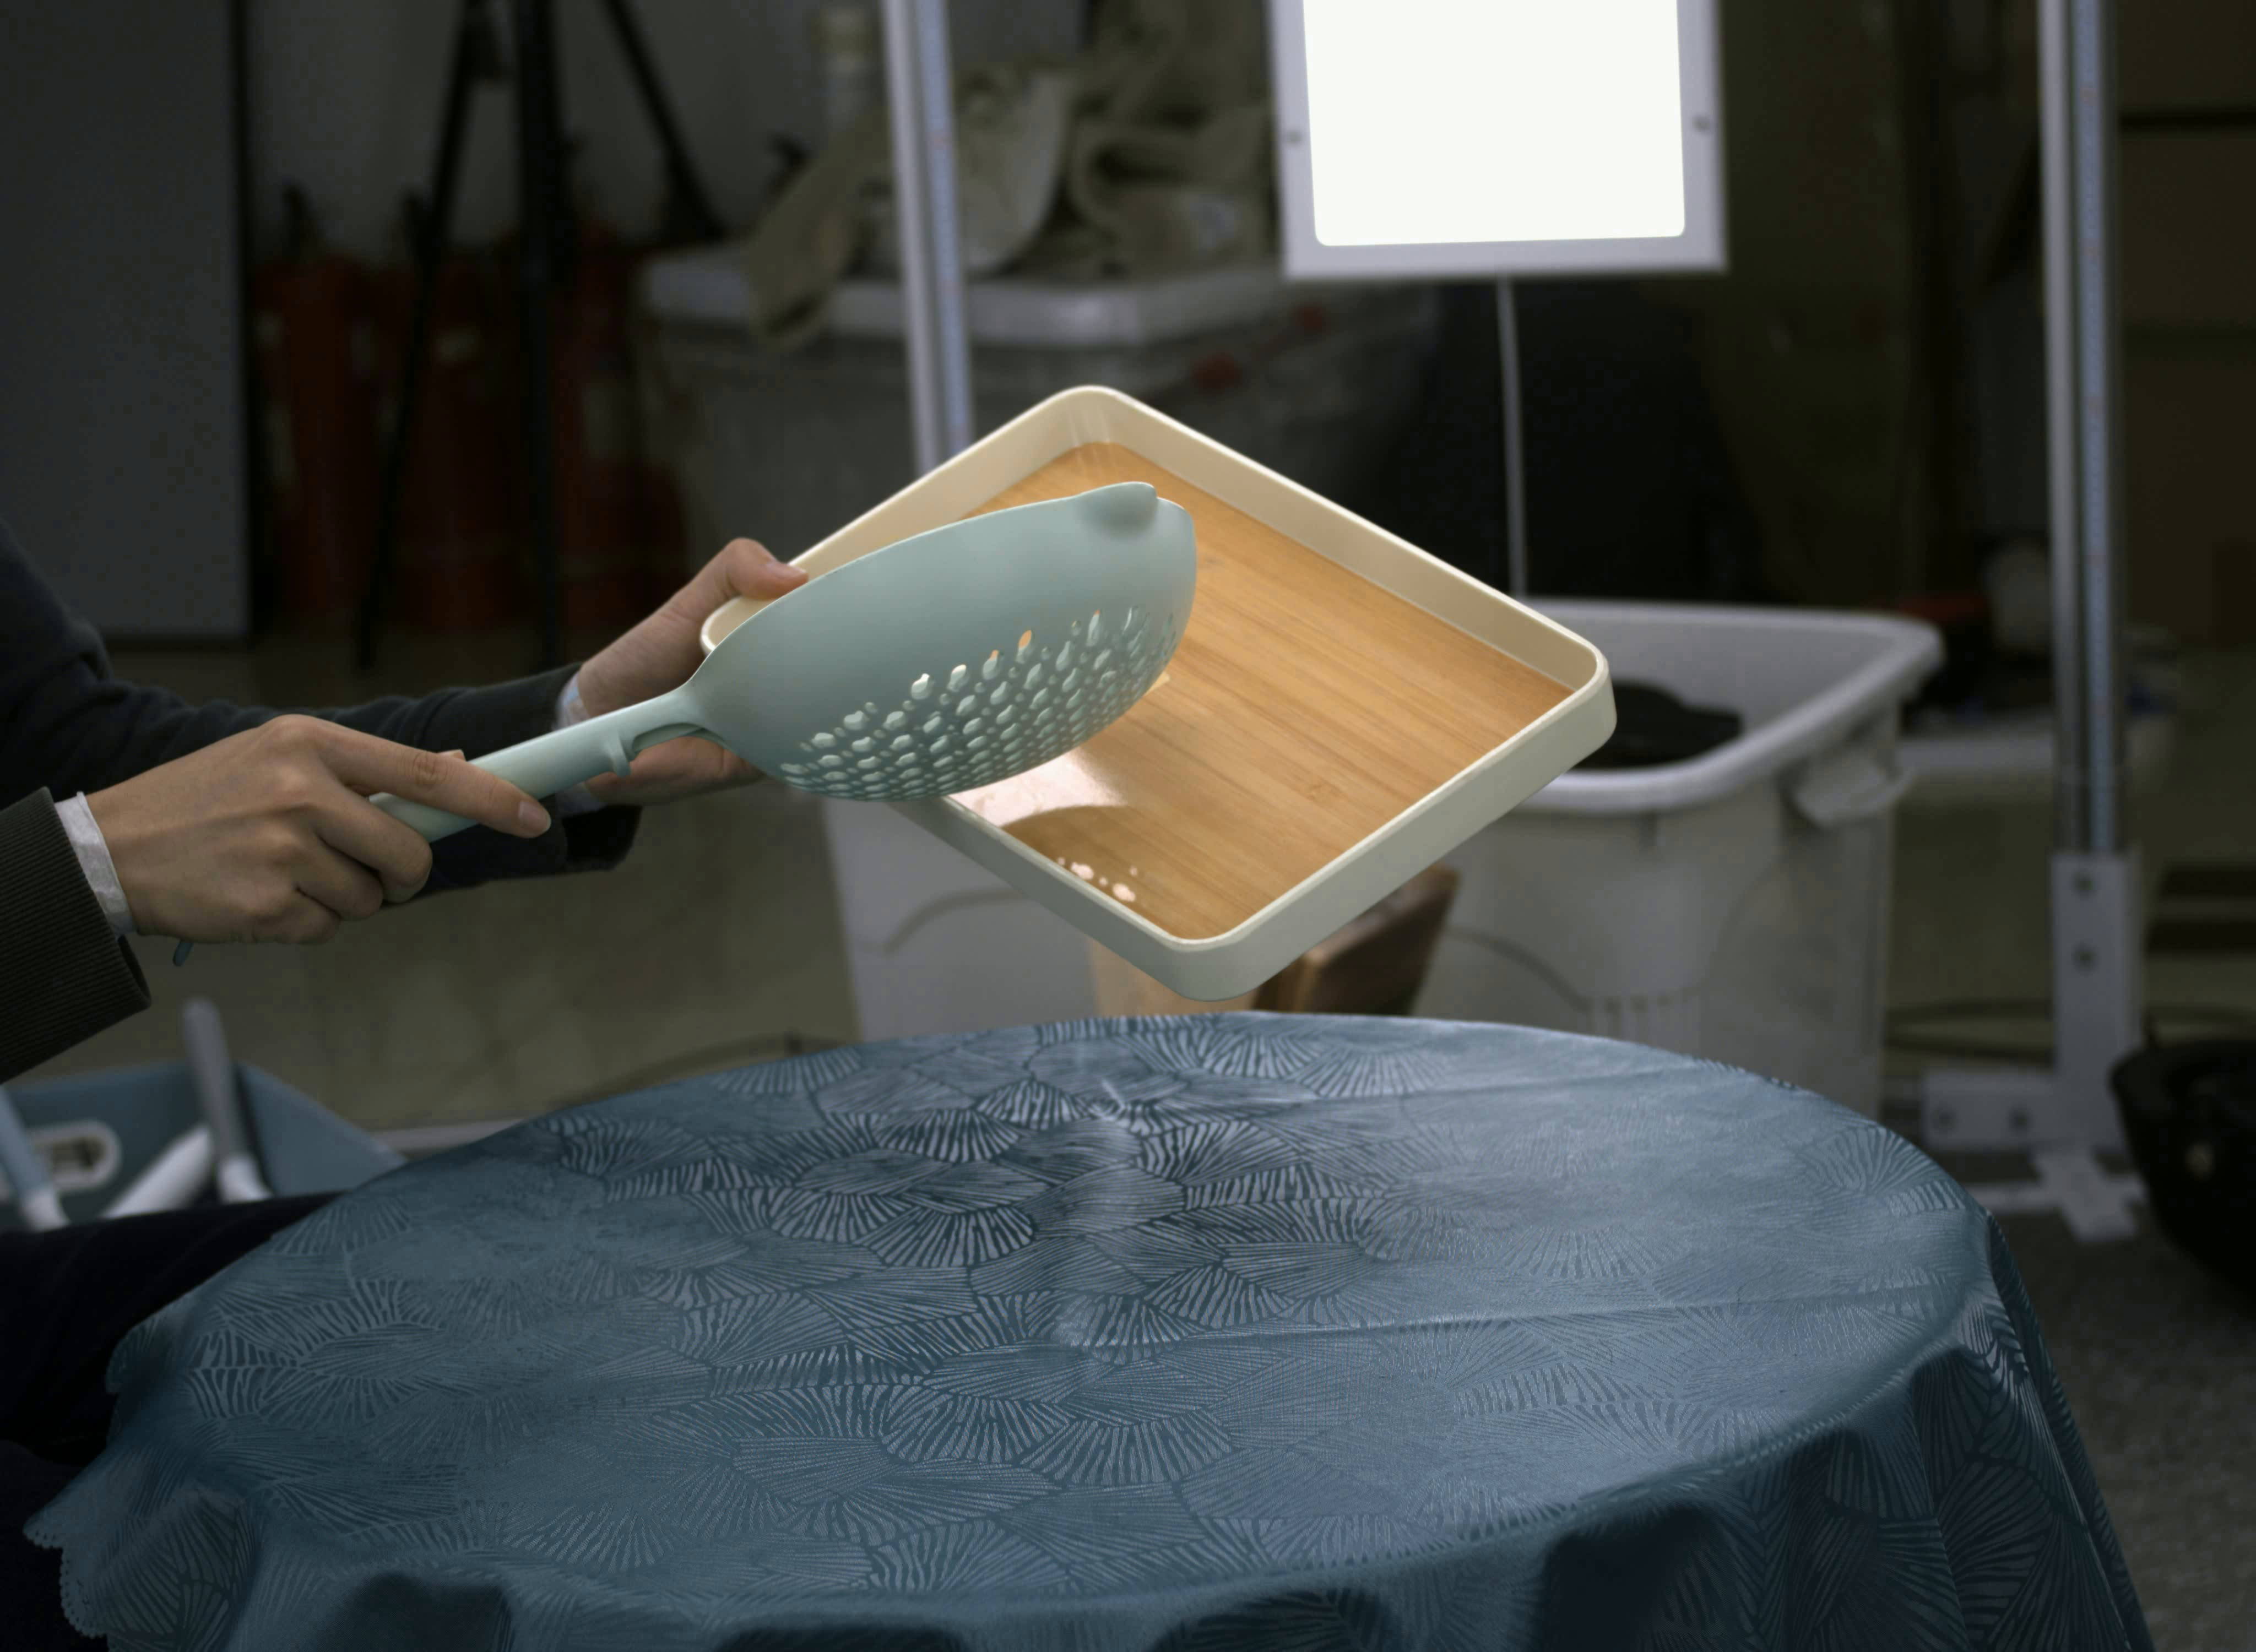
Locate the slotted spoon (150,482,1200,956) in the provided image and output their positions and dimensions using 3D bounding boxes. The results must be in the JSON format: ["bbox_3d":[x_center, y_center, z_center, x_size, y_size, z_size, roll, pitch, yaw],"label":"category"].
[{"bbox_3d":[-0.146,-0.029,1.785,0.358,0.075,0.169,-11,-15,1],"label":"slotted spoon"}]

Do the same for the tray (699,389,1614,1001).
[{"bbox_3d":[0.005,-0.052,1.889,0.188,0.027,0.305,-34,39,-21],"label":"tray"}]
